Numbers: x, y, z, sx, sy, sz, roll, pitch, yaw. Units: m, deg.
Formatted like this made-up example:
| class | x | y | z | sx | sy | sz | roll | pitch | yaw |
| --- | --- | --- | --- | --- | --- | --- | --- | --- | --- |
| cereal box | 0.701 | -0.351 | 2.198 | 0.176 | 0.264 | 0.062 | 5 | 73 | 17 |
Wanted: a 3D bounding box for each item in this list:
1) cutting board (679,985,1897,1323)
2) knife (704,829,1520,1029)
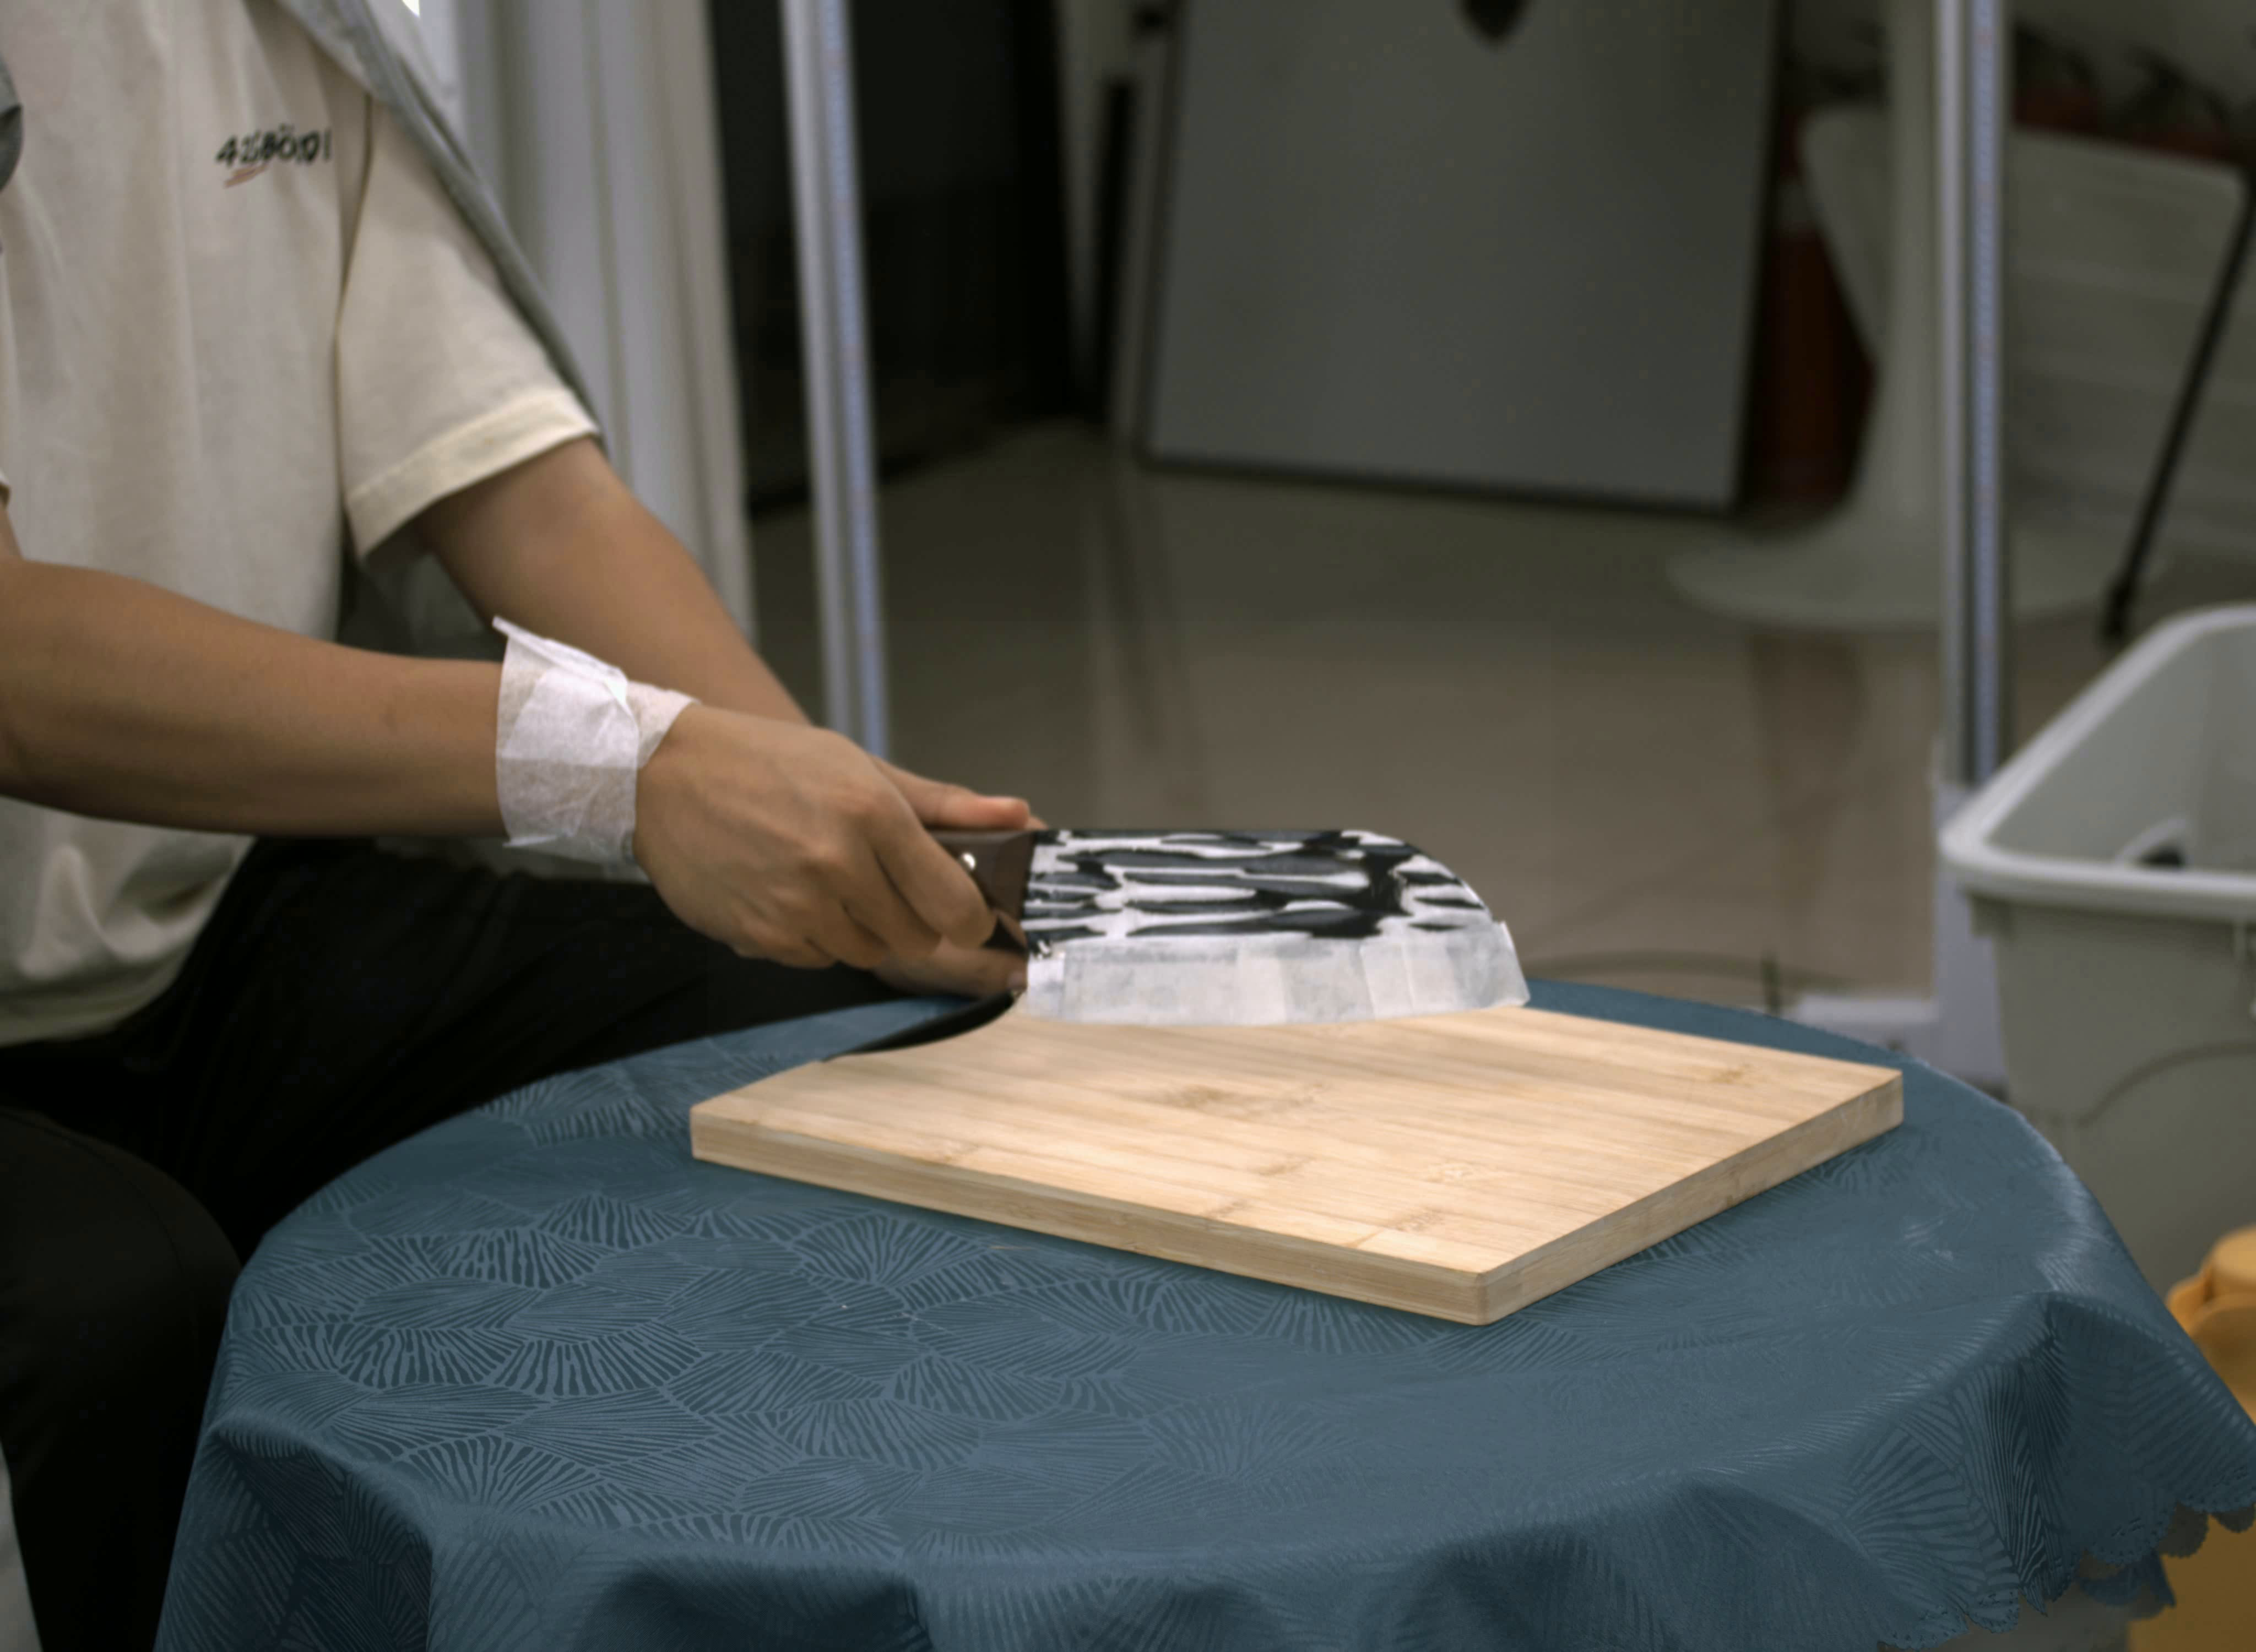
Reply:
| class | x | y | z | sx | sy | sz | roll | pitch | yaw |
| --- | --- | --- | --- | --- | --- | --- | --- | --- | --- |
| cutting board | 0.051 | 0.099 | 1.818 | 0.351 | 0.024 | 0.246 | 7 | 18 | 40 |
| knife | -0.009 | 0.035 | 1.835 | 0.299 | 0.069 | 0.023 | 1 | -2 | 22 |
